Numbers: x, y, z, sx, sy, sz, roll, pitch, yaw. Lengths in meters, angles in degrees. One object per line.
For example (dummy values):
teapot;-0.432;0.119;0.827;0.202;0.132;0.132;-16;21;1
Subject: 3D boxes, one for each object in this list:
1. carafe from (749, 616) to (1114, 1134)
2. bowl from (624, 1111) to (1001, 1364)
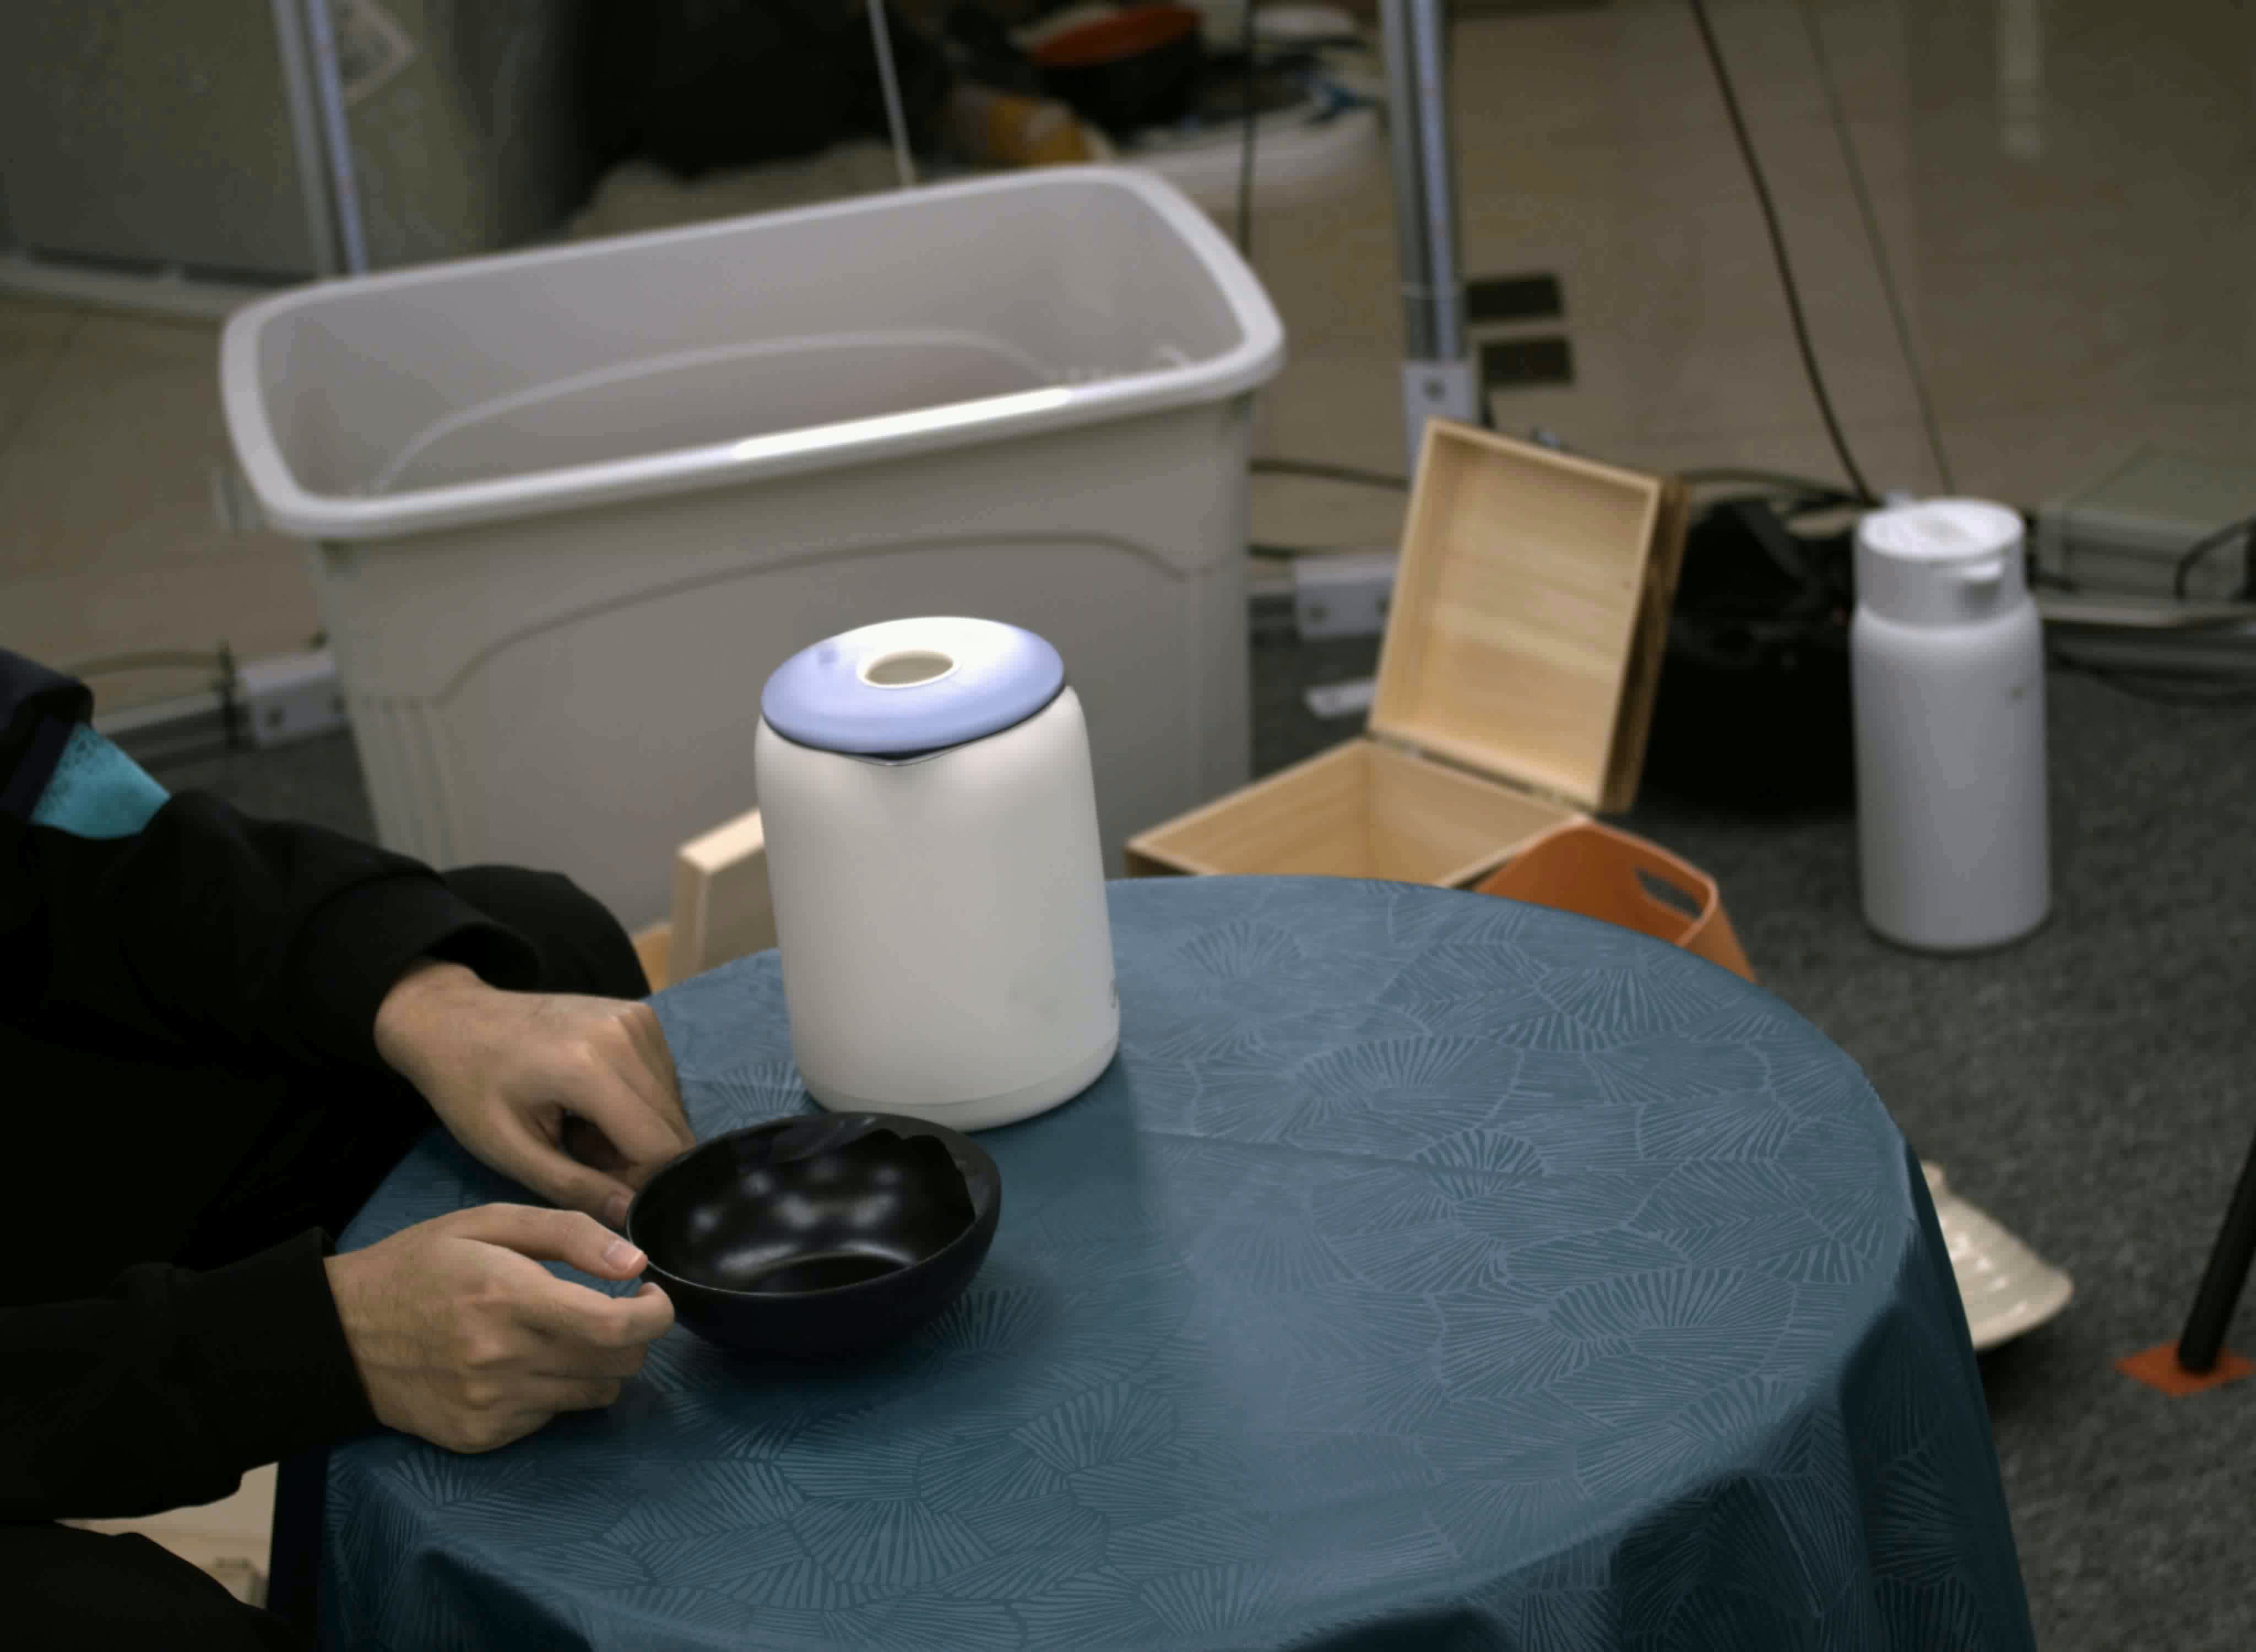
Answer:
carafe;-0.076;0.009;2.236;0.132;0.185;0.188;-4;23;2
bowl;-0.112;0.158;2.073;0.140;0.050;0.138;-7;25;3
